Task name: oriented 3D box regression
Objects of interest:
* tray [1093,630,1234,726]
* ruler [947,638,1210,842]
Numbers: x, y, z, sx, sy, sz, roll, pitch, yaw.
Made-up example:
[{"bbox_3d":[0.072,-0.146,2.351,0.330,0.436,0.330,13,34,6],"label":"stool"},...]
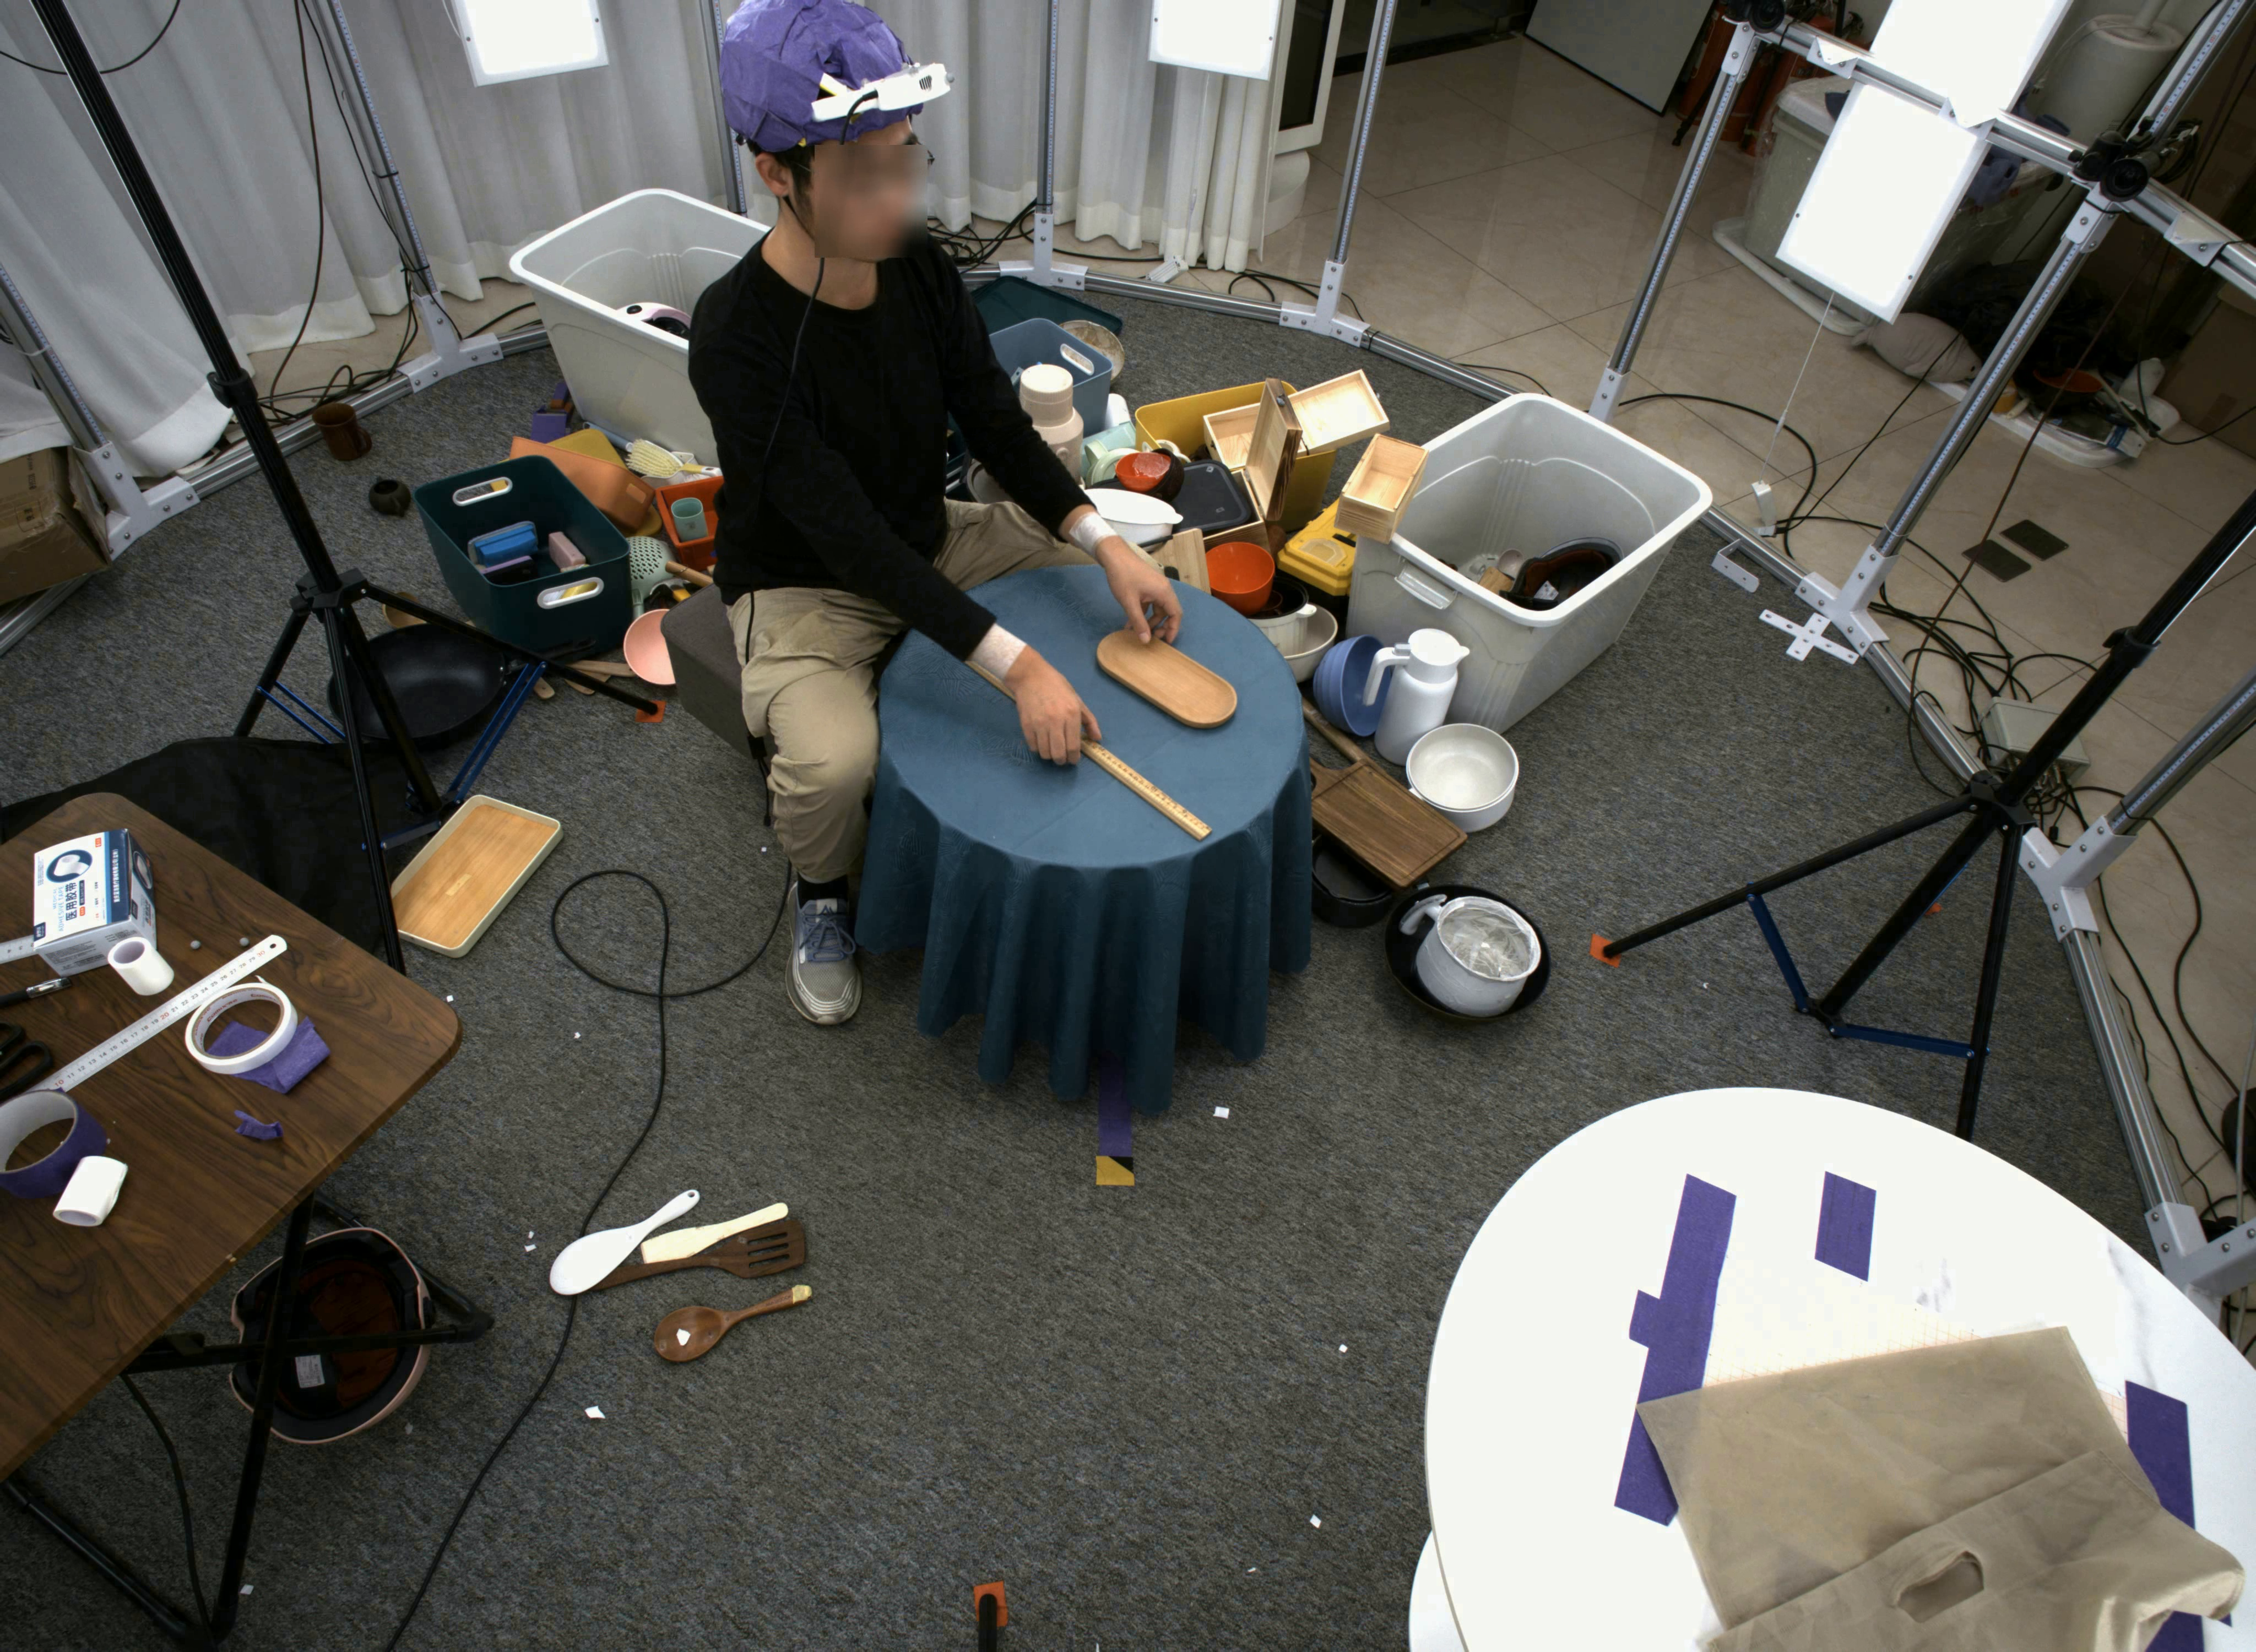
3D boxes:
[{"bbox_3d":[0.050,-0.214,1.848,0.234,0.020,0.103,32,53,24],"label":"tray"},{"bbox_3d":[-0.078,-0.128,1.773,0.027,0.006,0.508,-34,59,-32],"label":"ruler"}]
